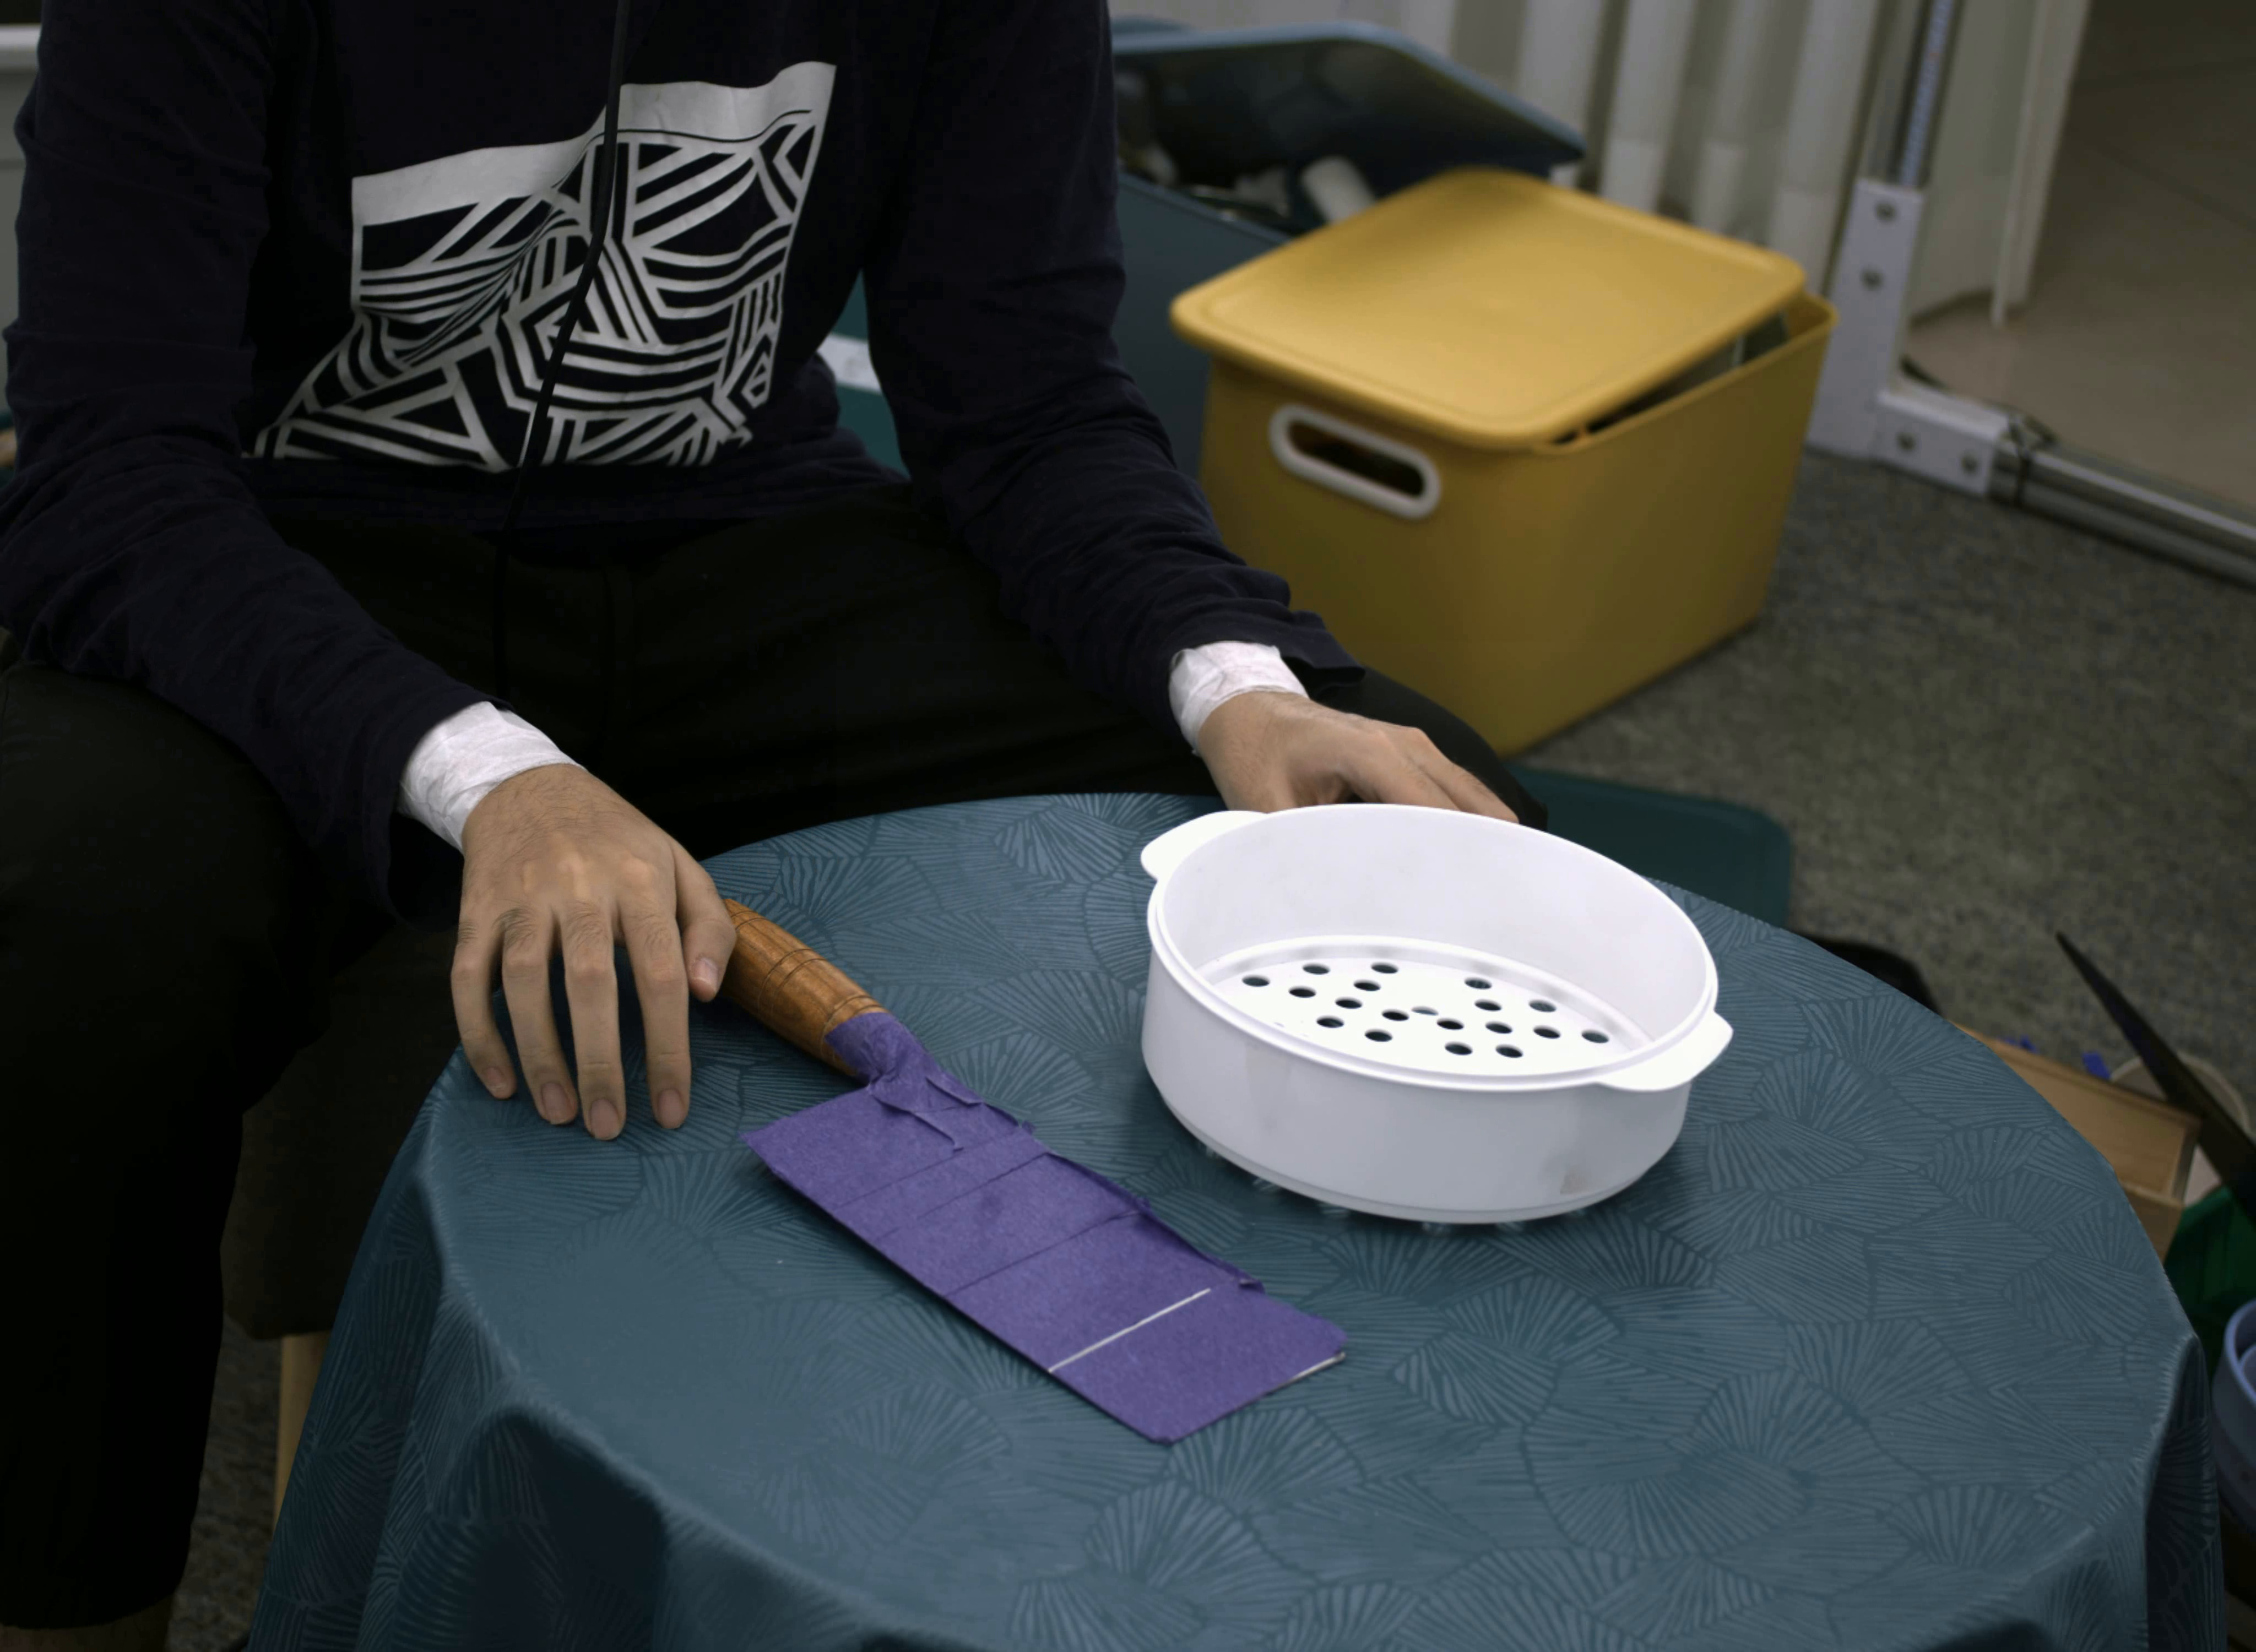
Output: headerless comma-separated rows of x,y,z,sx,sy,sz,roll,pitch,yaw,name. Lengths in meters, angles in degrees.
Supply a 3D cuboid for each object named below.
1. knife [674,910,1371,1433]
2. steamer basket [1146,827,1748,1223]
-0.063,0.112,1.784,0.103,0.032,0.318,-19,37,-41,knife
0.107,0.070,1.865,0.232,0.069,0.201,21,29,33,steamer basket
